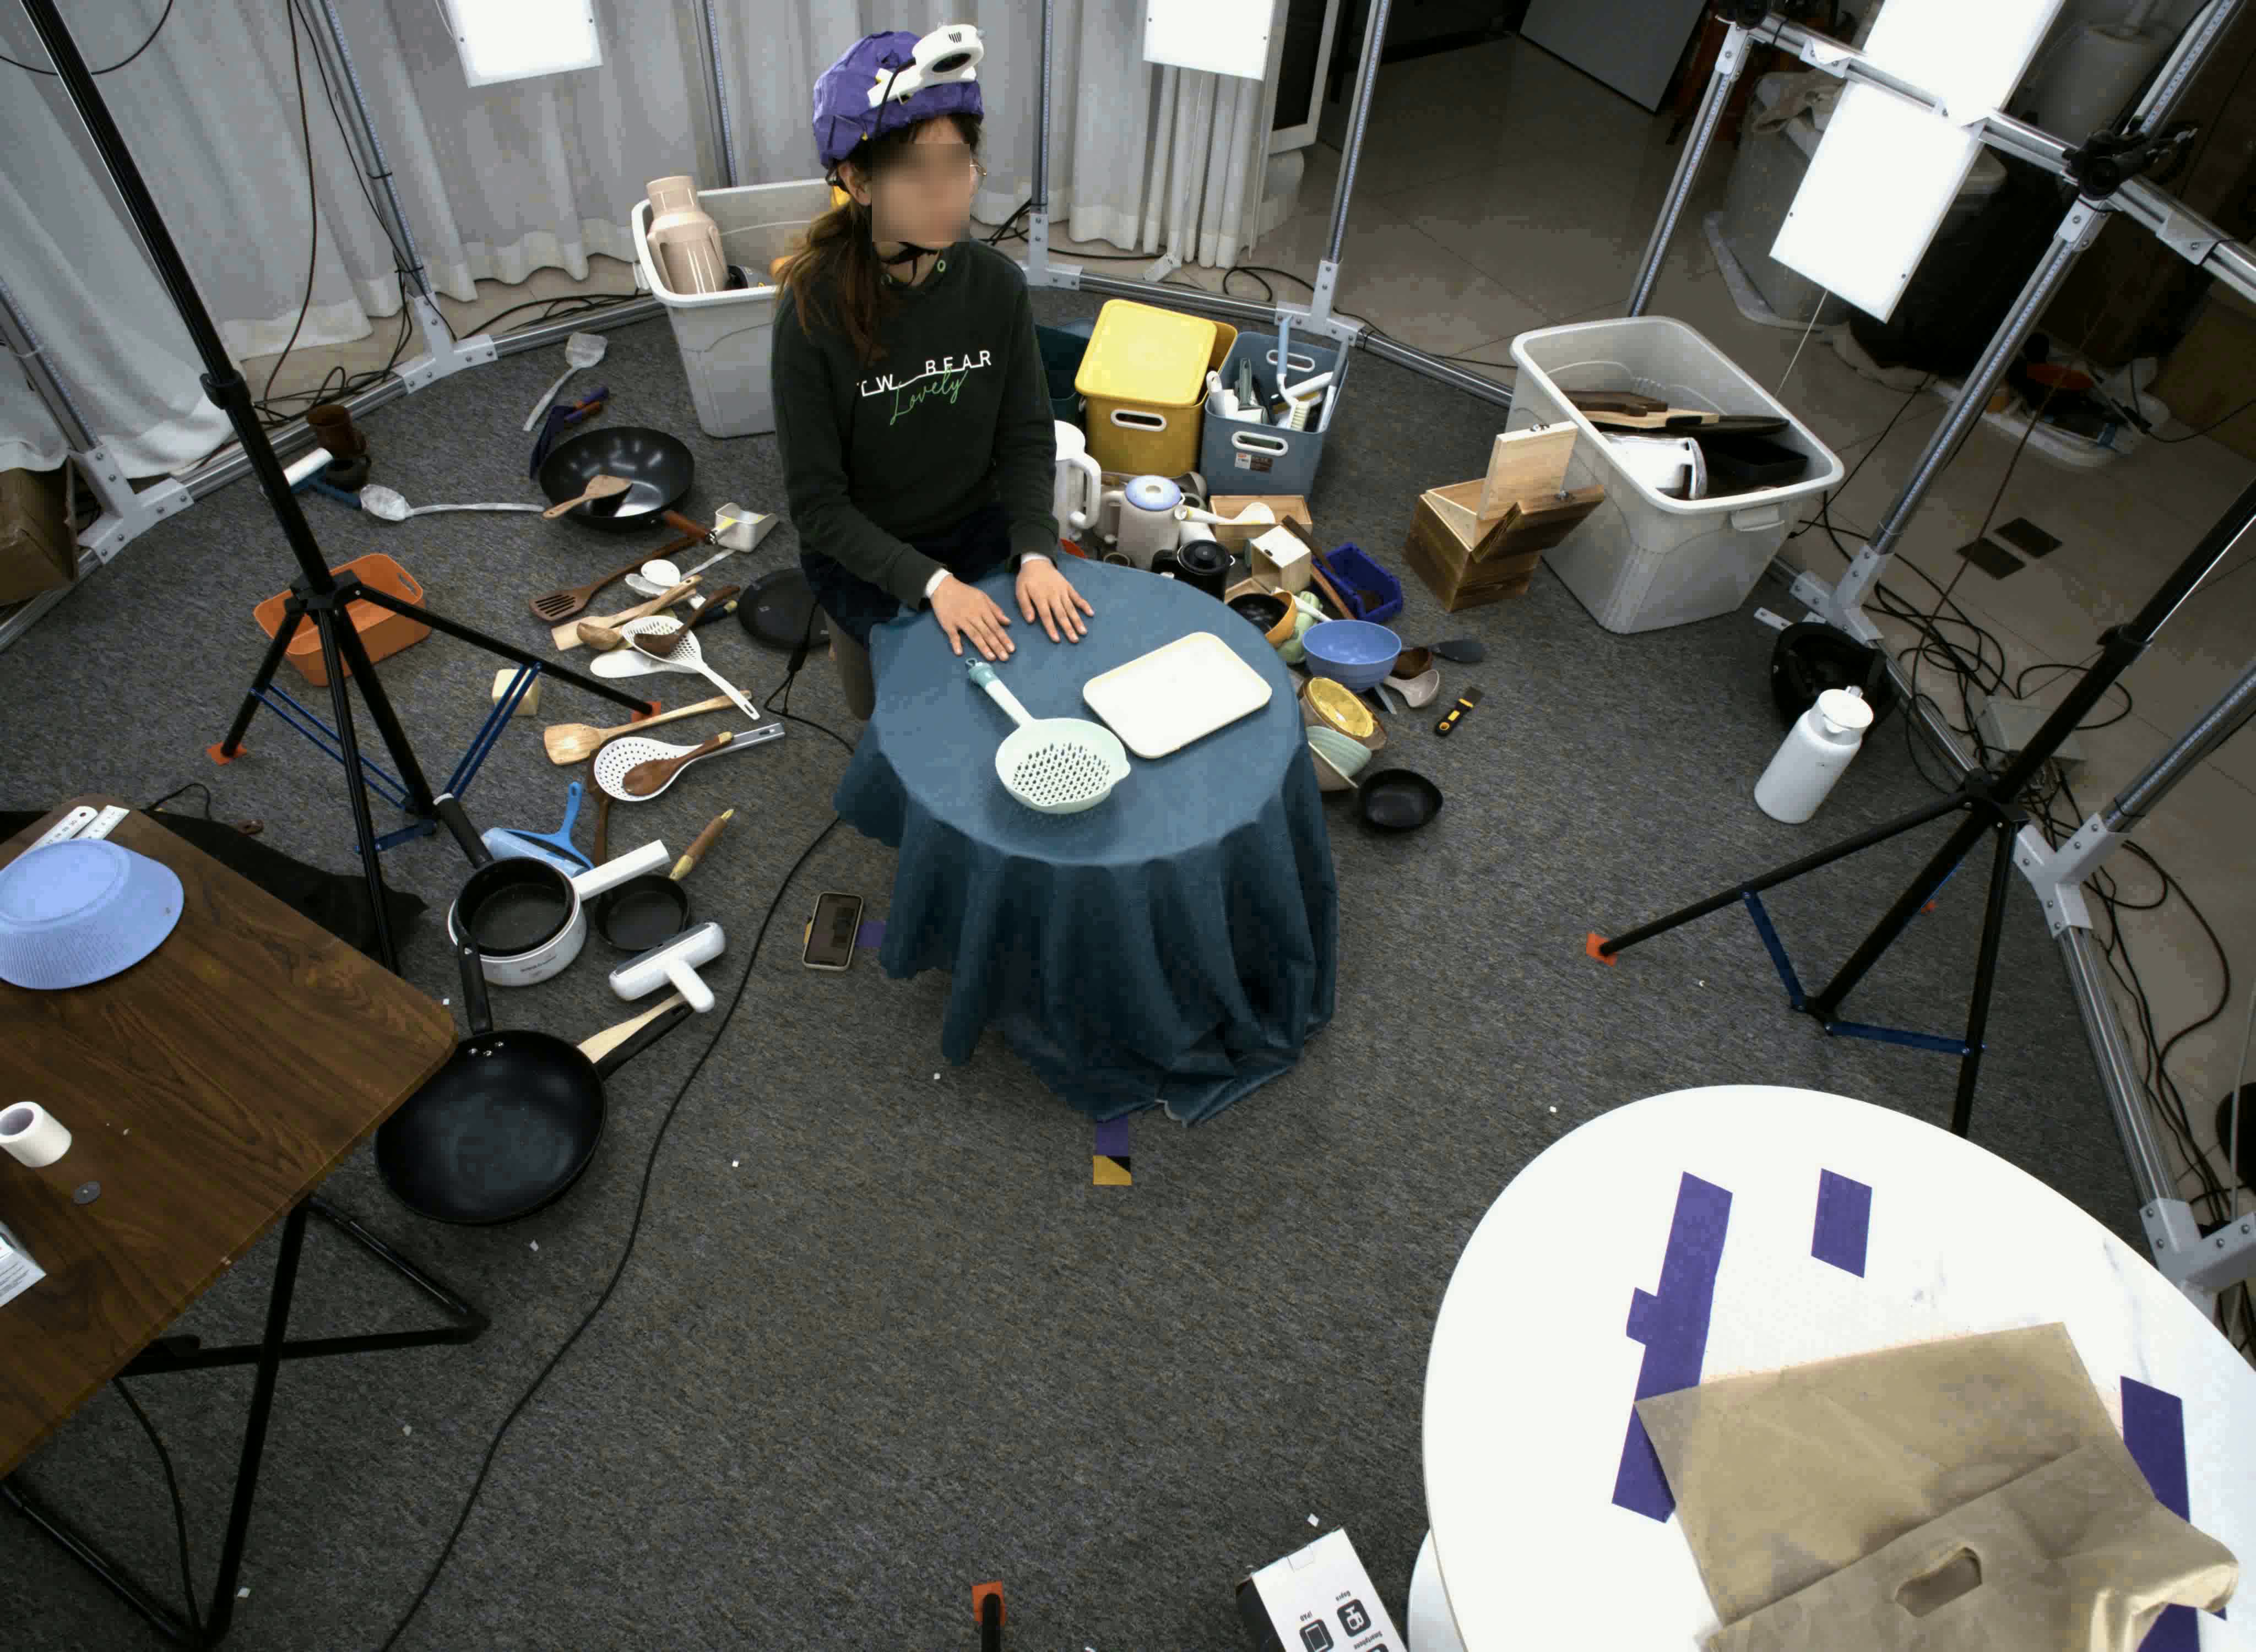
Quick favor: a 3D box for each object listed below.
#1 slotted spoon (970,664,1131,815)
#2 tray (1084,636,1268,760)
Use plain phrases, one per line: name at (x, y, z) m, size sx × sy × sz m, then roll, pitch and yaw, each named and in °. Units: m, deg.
slotted spoon at (-0.135, -0.134, 1.751) m, size 0.170 × 0.073 × 0.366 m, roll -21°, pitch 53°, yaw -21°
tray at (0.069, -0.185, 1.840) m, size 0.241 × 0.017 × 0.174 m, roll -27°, pitch 56°, yaw -25°
